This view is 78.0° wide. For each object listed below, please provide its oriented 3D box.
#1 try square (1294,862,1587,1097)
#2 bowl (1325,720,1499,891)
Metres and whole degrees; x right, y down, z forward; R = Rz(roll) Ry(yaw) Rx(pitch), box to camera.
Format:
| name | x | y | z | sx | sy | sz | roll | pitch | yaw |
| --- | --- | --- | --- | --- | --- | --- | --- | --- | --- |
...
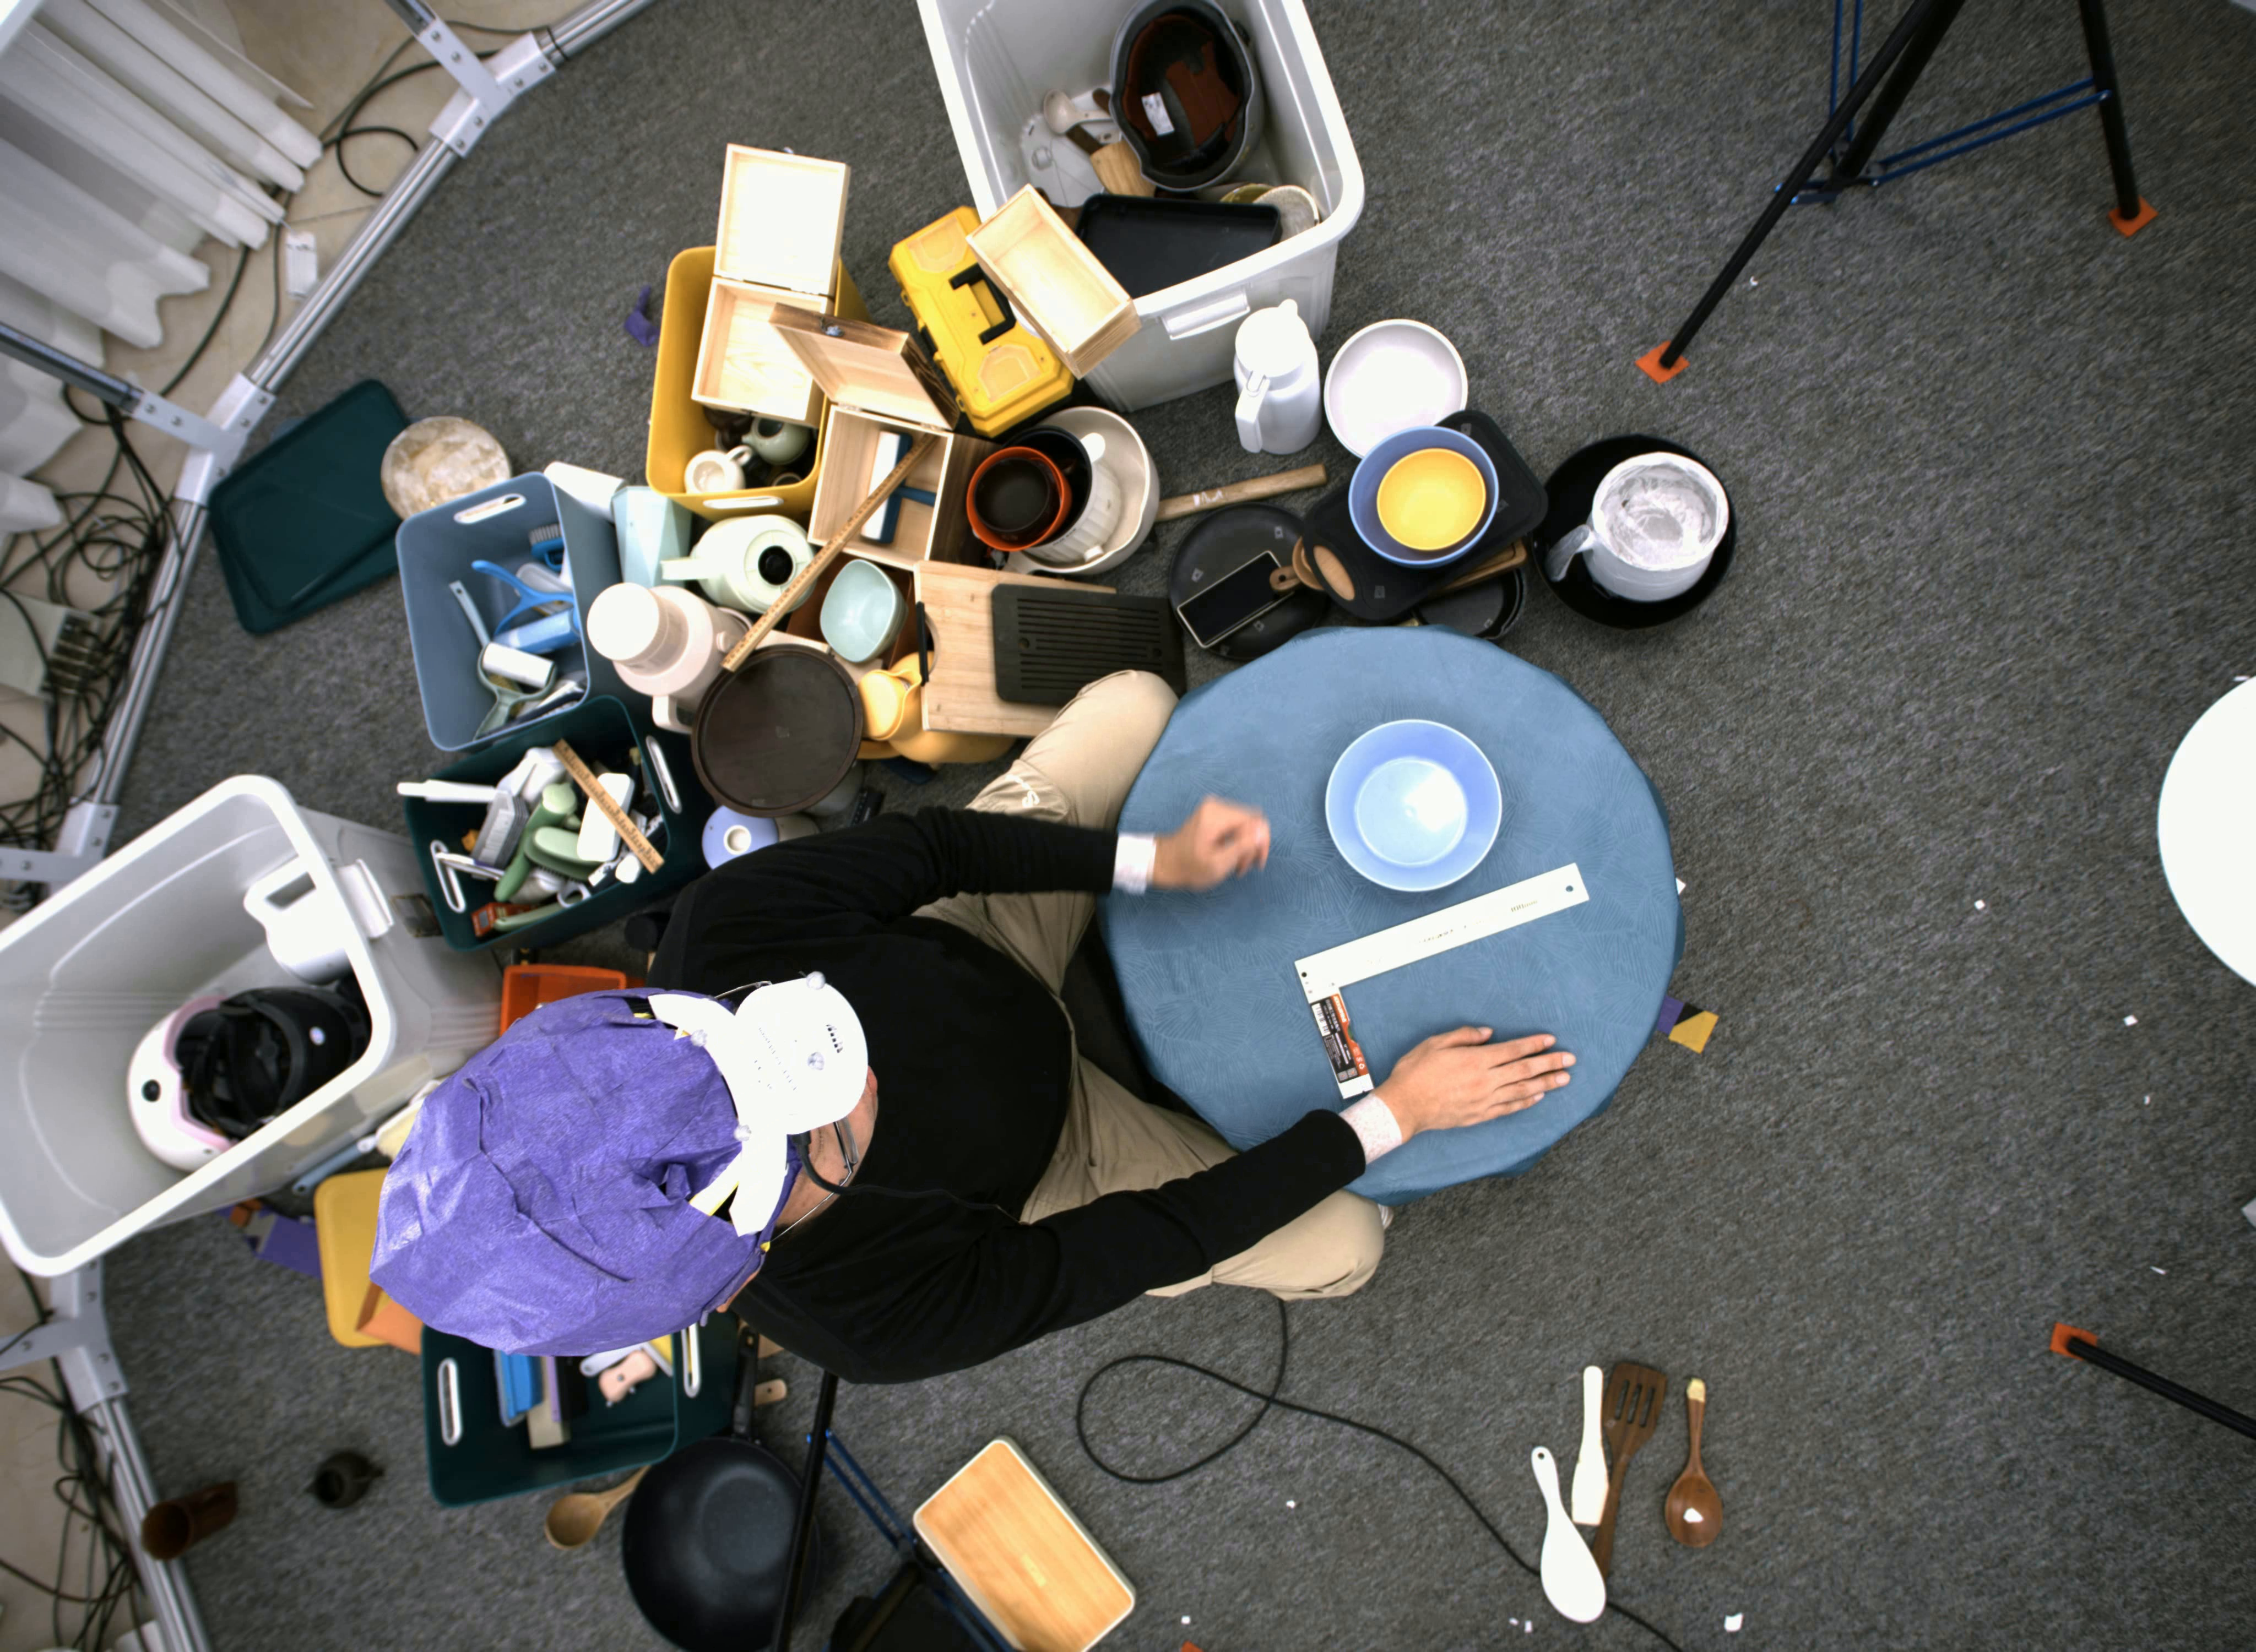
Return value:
| name | x | y | z | sx | sy | sz | roll | pitch | yaw |
| --- | --- | --- | --- | --- | --- | --- | --- | --- | --- |
| try square | 0.342 | 0.159 | 1.440 | 0.314 | 0.016 | 0.151 | -20 | 86 | 8 |
| bowl | 0.292 | -0.019 | 1.426 | 0.177 | 0.070 | 0.175 | -1 | 87 | 10 |
